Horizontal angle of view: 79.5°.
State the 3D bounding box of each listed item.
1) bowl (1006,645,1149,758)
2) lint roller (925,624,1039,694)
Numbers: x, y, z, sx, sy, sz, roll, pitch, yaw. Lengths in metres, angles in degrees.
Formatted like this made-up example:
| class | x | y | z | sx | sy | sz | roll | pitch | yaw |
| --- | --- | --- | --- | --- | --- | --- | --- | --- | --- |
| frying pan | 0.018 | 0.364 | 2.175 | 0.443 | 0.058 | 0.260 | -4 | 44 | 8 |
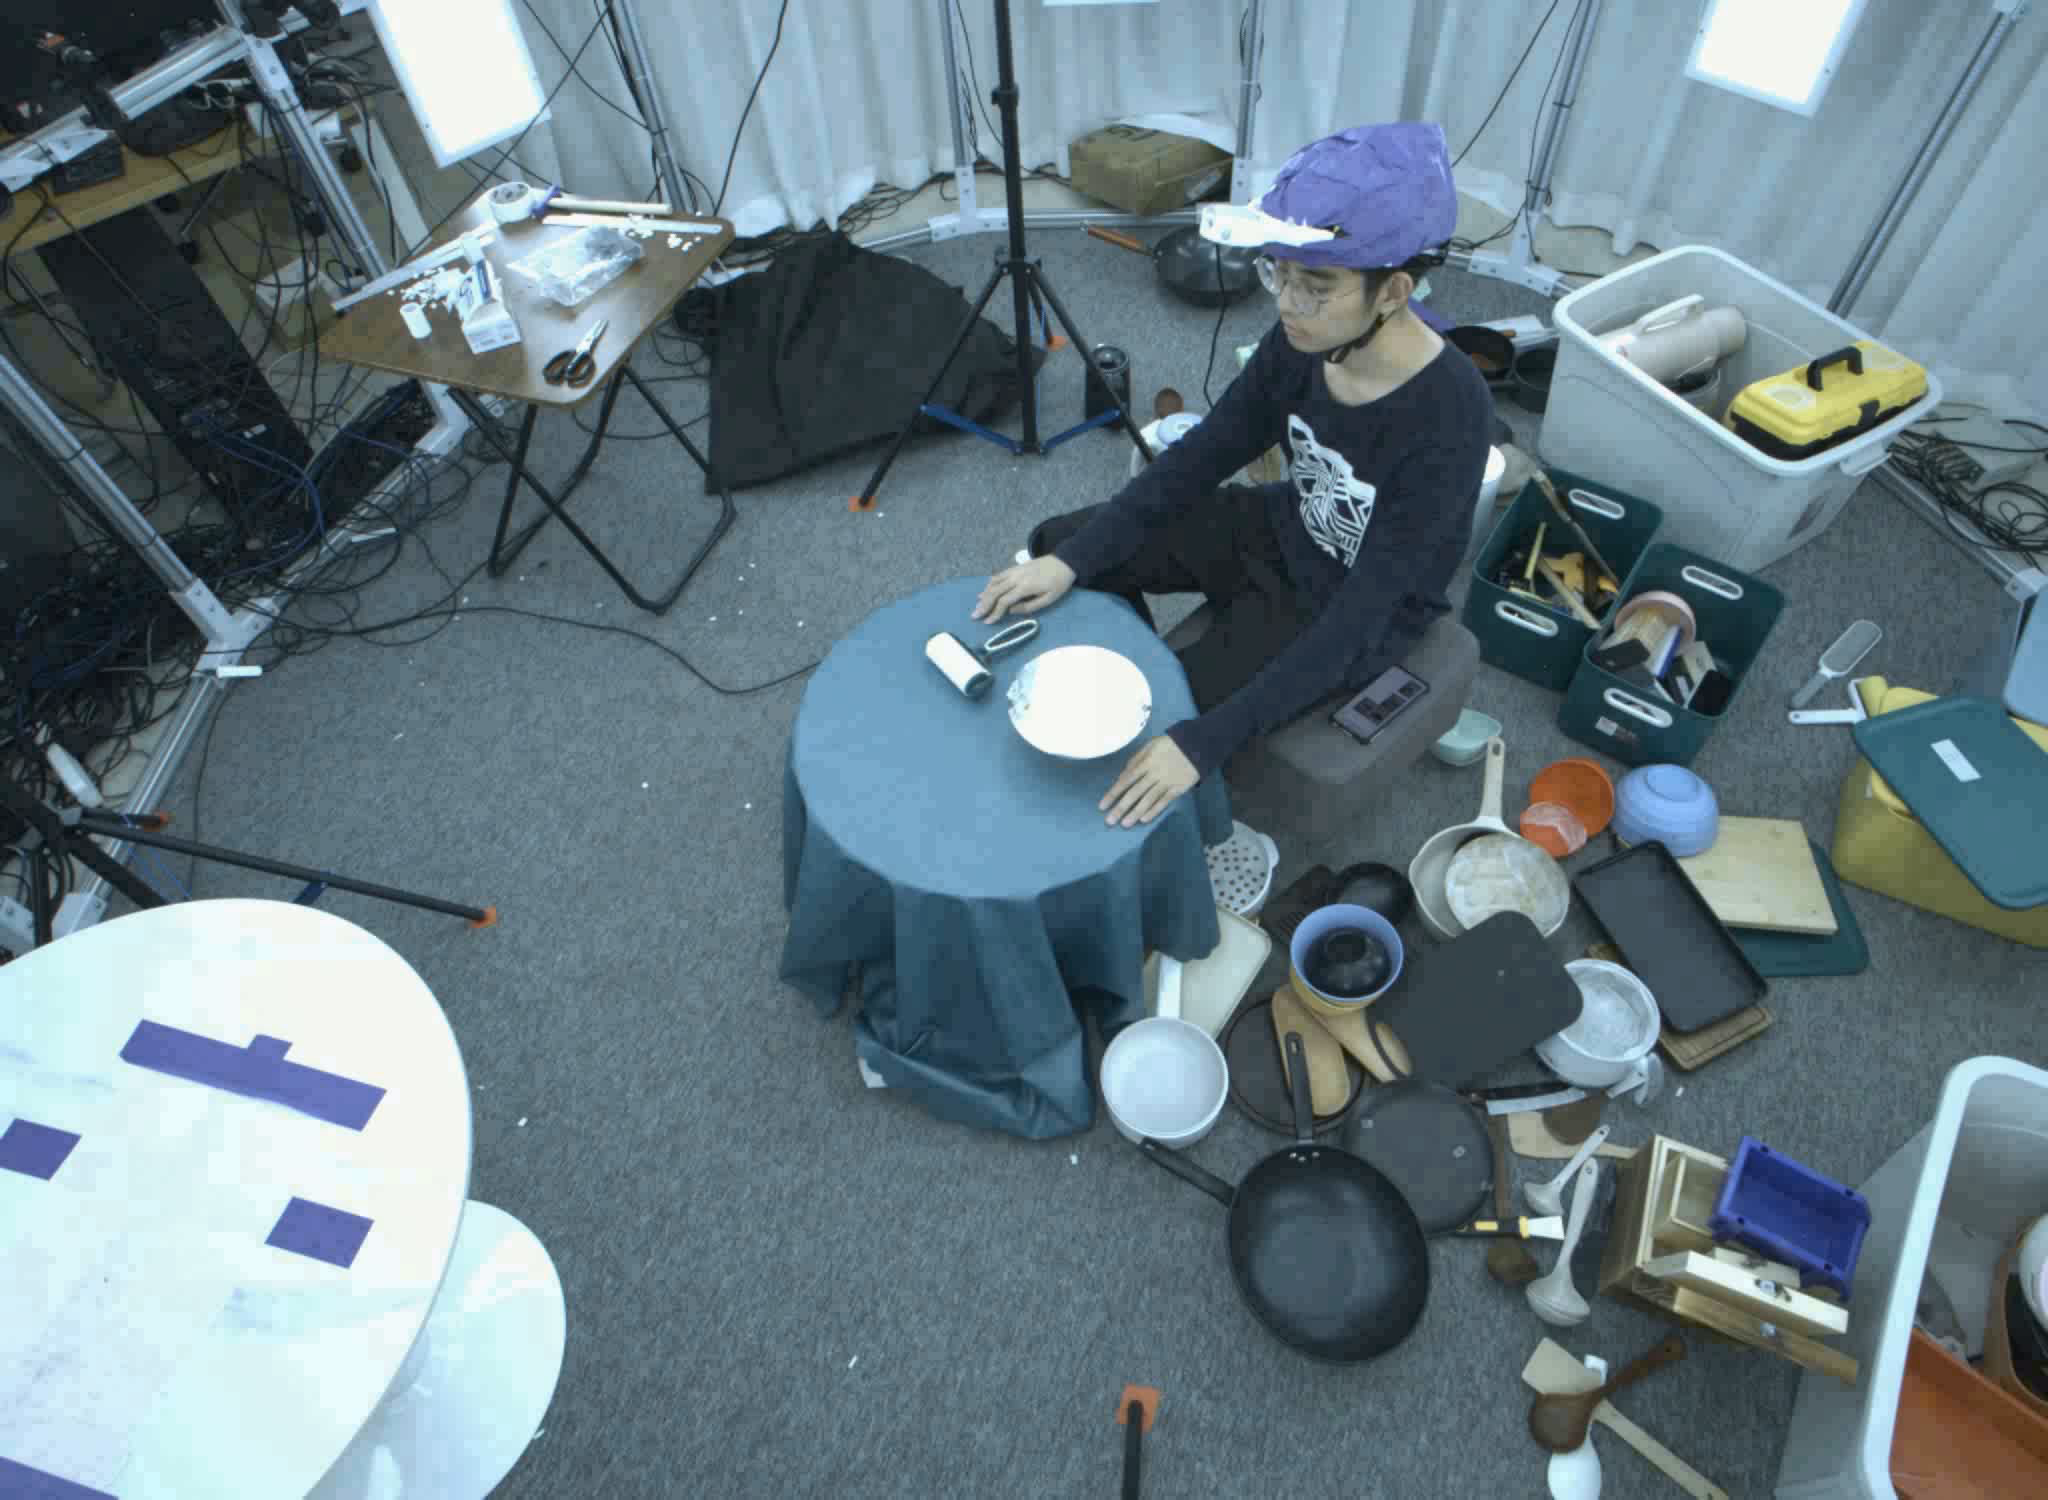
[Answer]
| class | x | y | z | sx | sy | sz | roll | pitch | yaw |
| --- | --- | --- | --- | --- | --- | --- | --- | --- | --- |
| bowl | 0.078 | -0.051 | 1.782 | 0.204 | 0.079 | 0.202 | 1 | 55 | 0 |
| lint roller | -0.050 | -0.163 | 1.889 | 0.182 | 0.049 | 0.132 | -31 | 59 | -23 |
